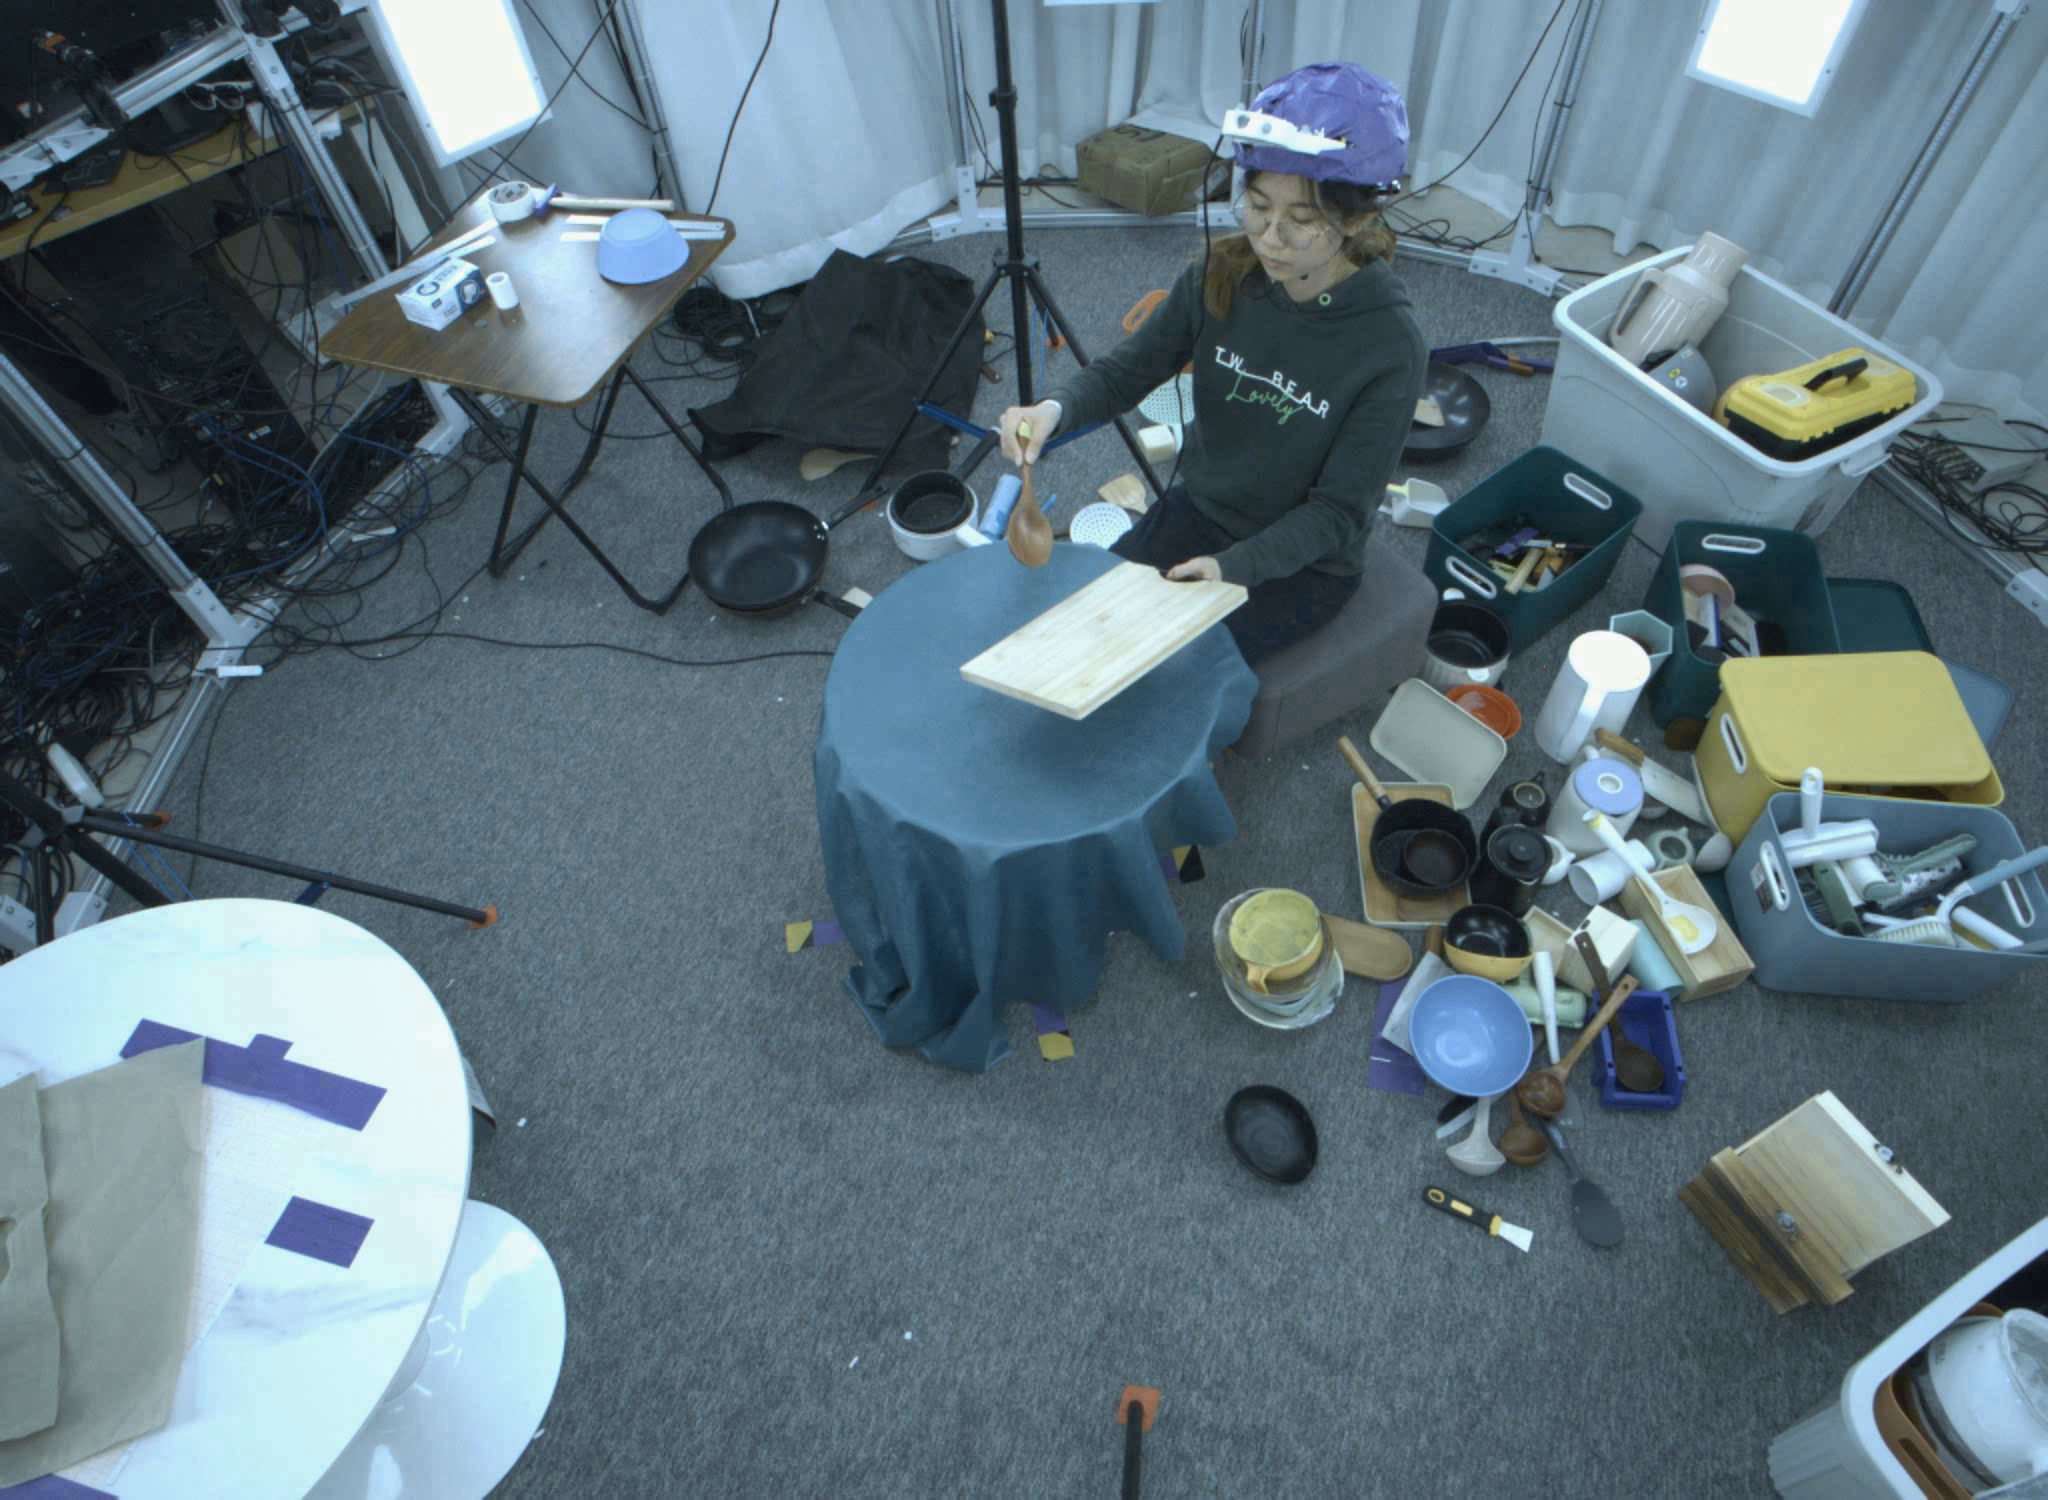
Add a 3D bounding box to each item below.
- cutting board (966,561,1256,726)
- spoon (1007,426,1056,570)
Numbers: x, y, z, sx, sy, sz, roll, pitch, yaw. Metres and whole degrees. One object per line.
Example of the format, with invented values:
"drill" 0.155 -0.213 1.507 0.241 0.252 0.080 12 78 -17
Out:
"cutting board" 0.119 -0.159 1.712 0.352 0.024 0.245 -37 39 -30
"spoon" 0.005 -0.358 1.728 0.077 0.017 0.215 1 83 -28
